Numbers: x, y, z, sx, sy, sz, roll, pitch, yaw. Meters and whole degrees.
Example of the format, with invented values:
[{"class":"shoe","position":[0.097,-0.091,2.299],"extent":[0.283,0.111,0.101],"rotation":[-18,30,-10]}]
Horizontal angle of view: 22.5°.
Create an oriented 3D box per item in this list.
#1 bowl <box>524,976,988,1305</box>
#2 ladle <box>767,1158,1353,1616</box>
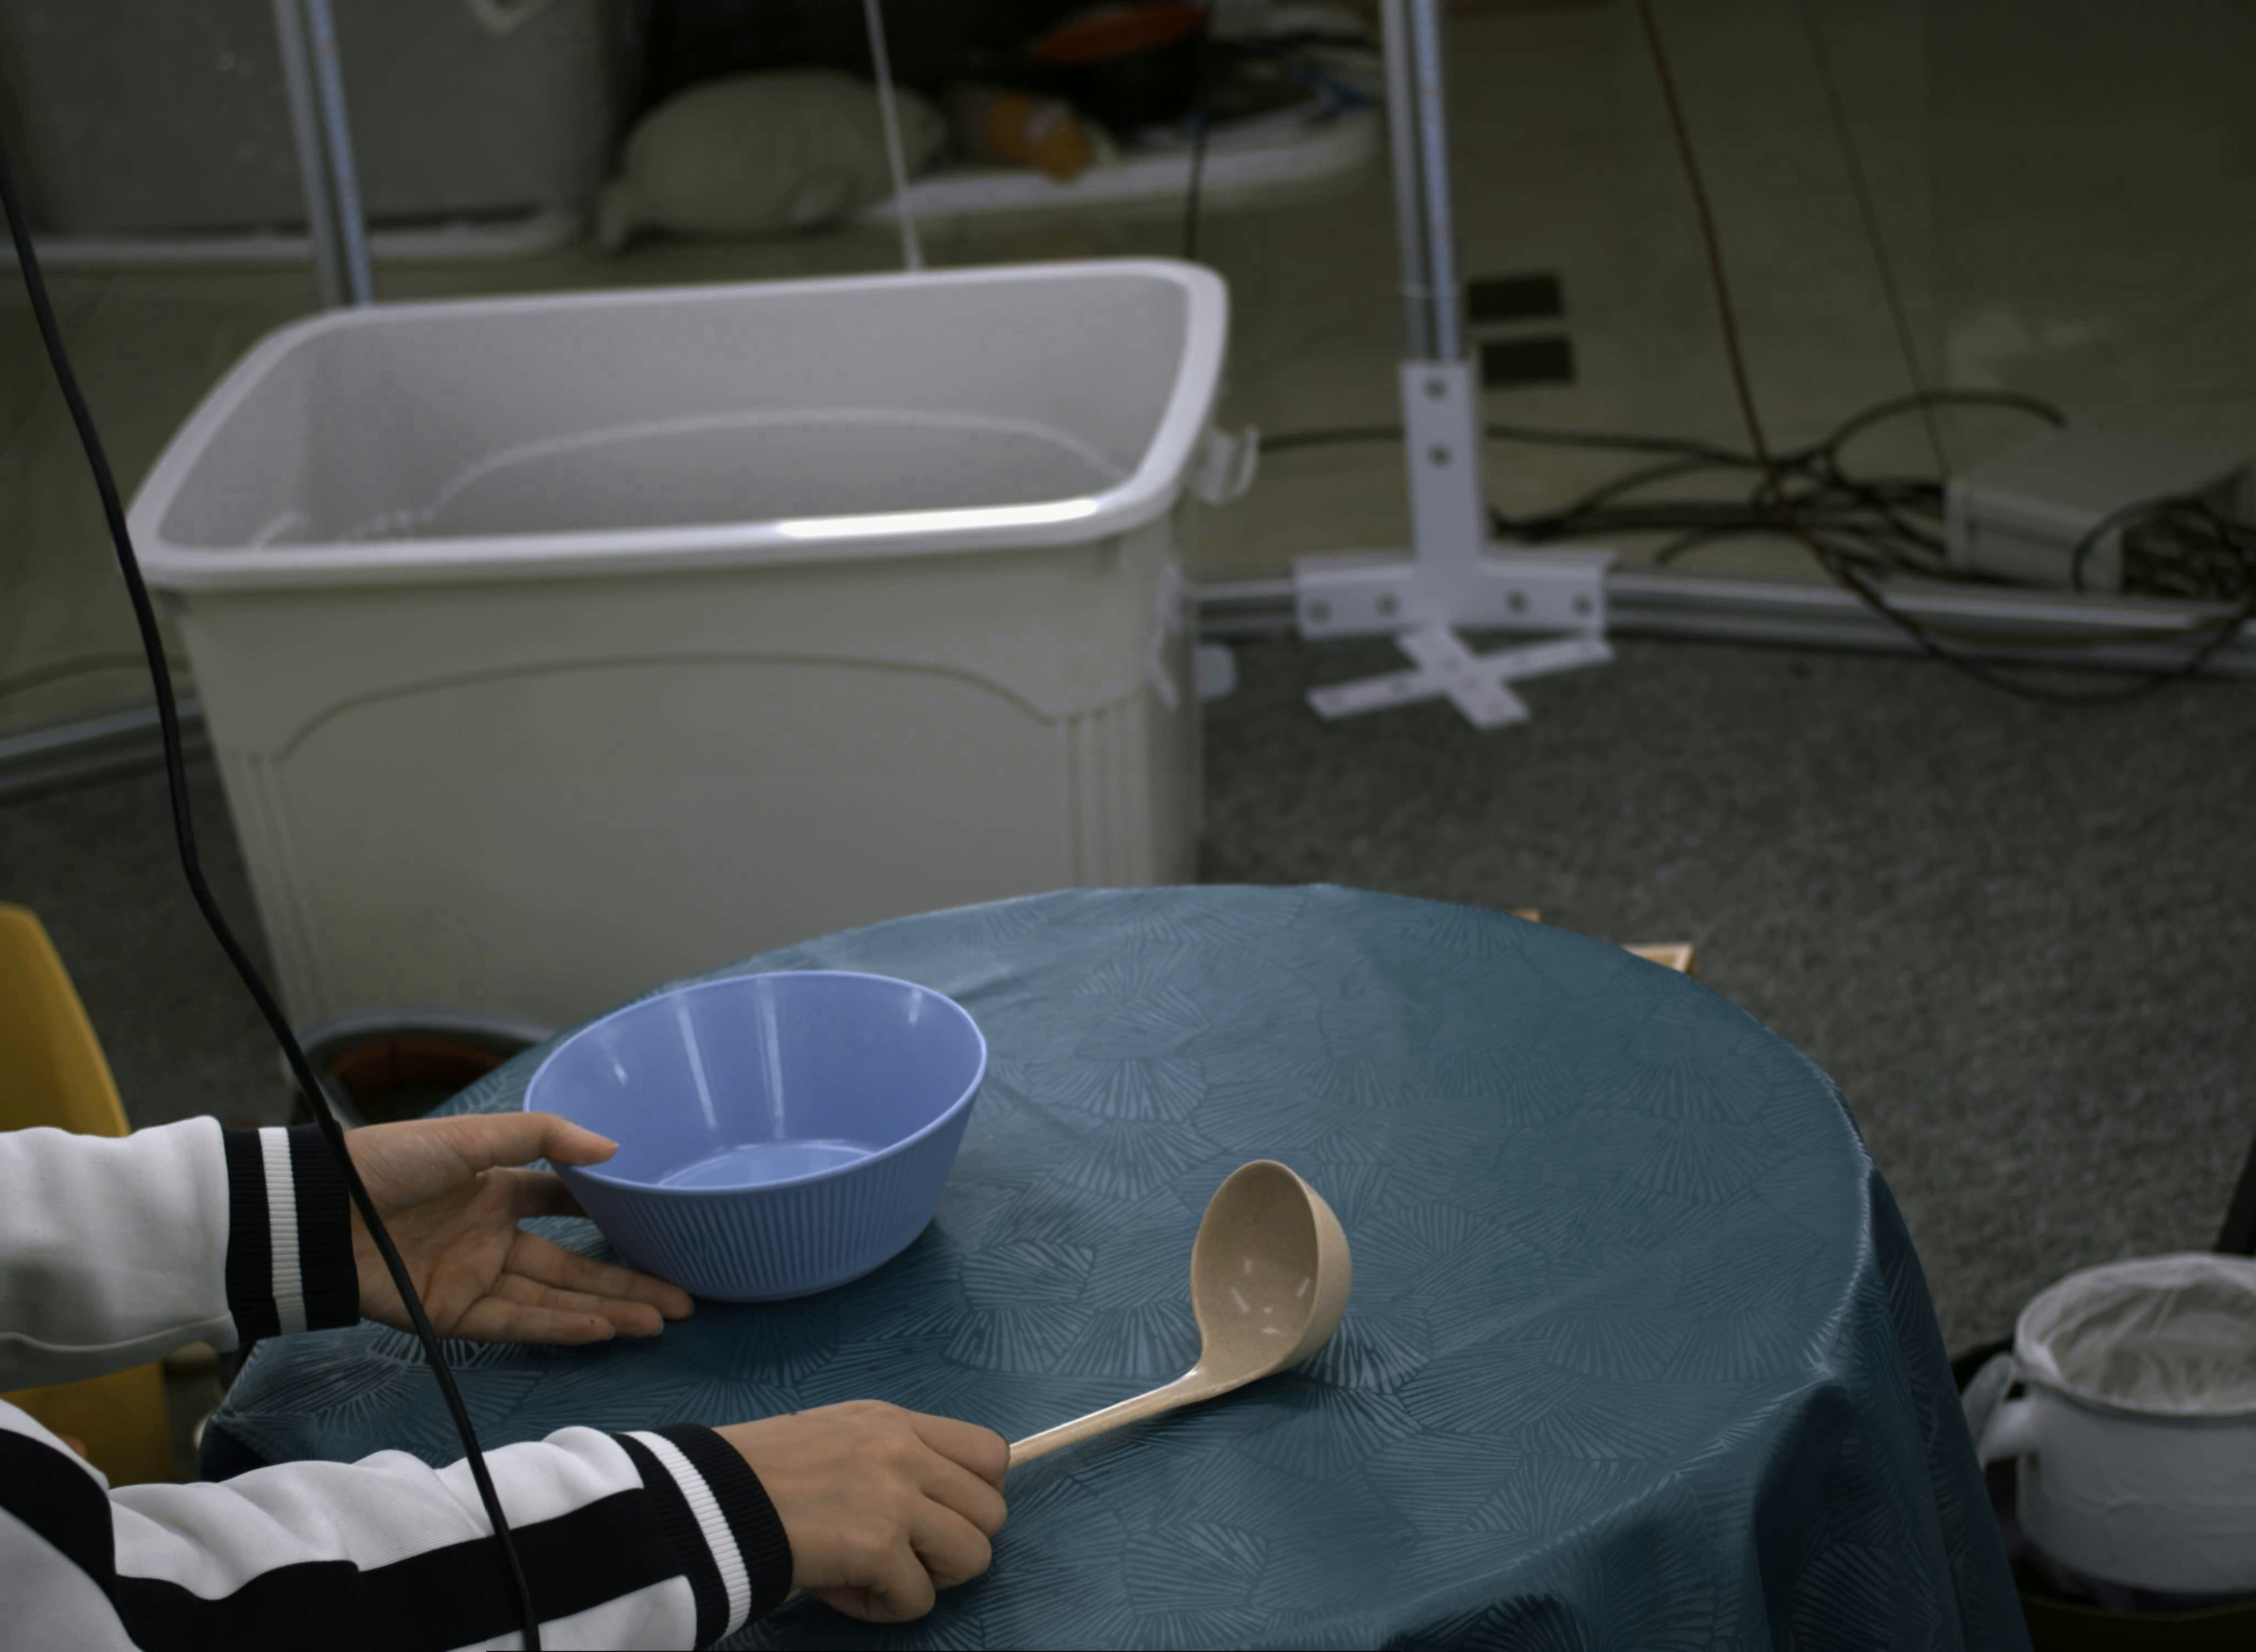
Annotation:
[{"class":"bowl","position":[-0.135,0.124,2.131],"extent":[0.176,0.071,0.173],"rotation":[-6,24,3]},{"class":"ladle","position":[-0.029,0.189,1.956],"extent":[0.252,0.074,0.072],"rotation":[-23,23,-34]}]
